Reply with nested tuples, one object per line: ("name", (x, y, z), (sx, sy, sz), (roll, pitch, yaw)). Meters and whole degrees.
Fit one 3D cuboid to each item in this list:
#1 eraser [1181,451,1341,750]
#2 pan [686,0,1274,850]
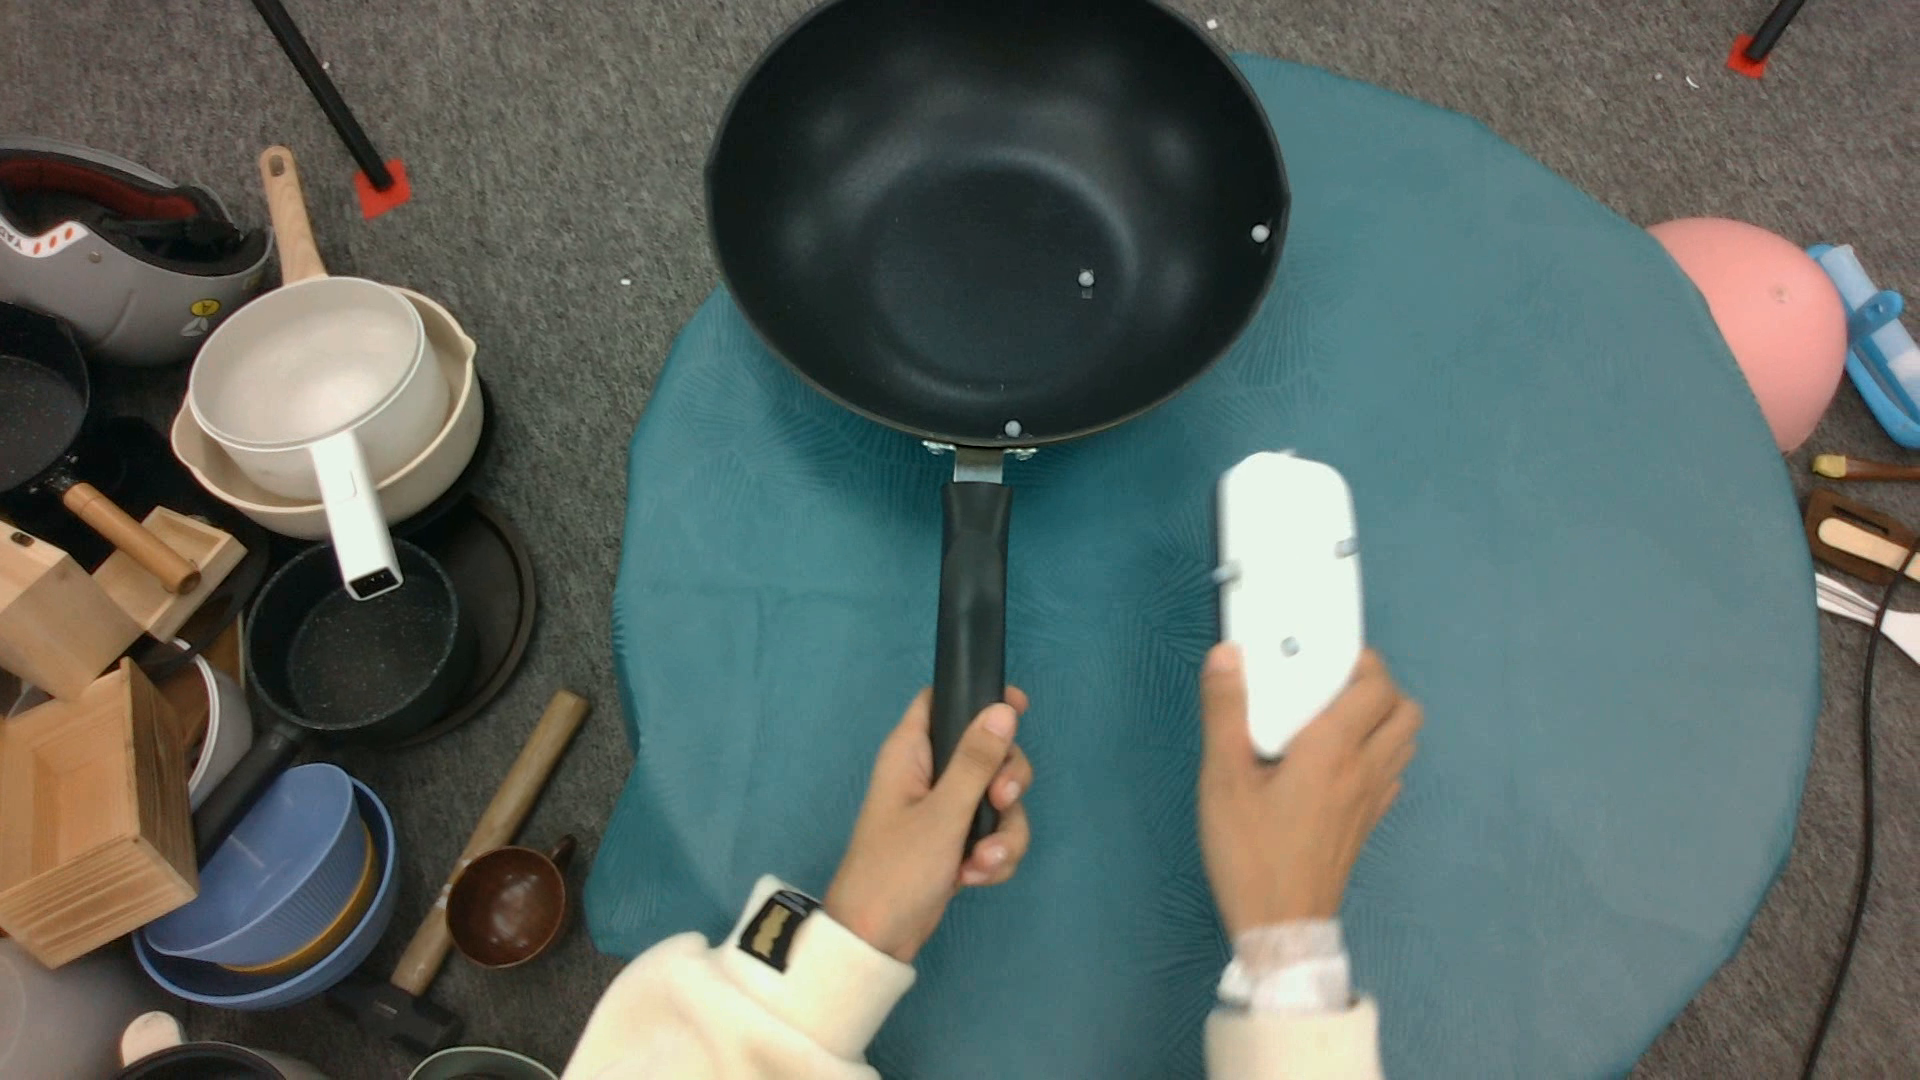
("eraser", (0.131, 0.026, 0.602), (0.063, 0.034, 0.131), (7, 72, -28))
("pan", (0.004, -0.080, 0.675), (0.288, 0.086, 0.464), (3, 70, 0))
